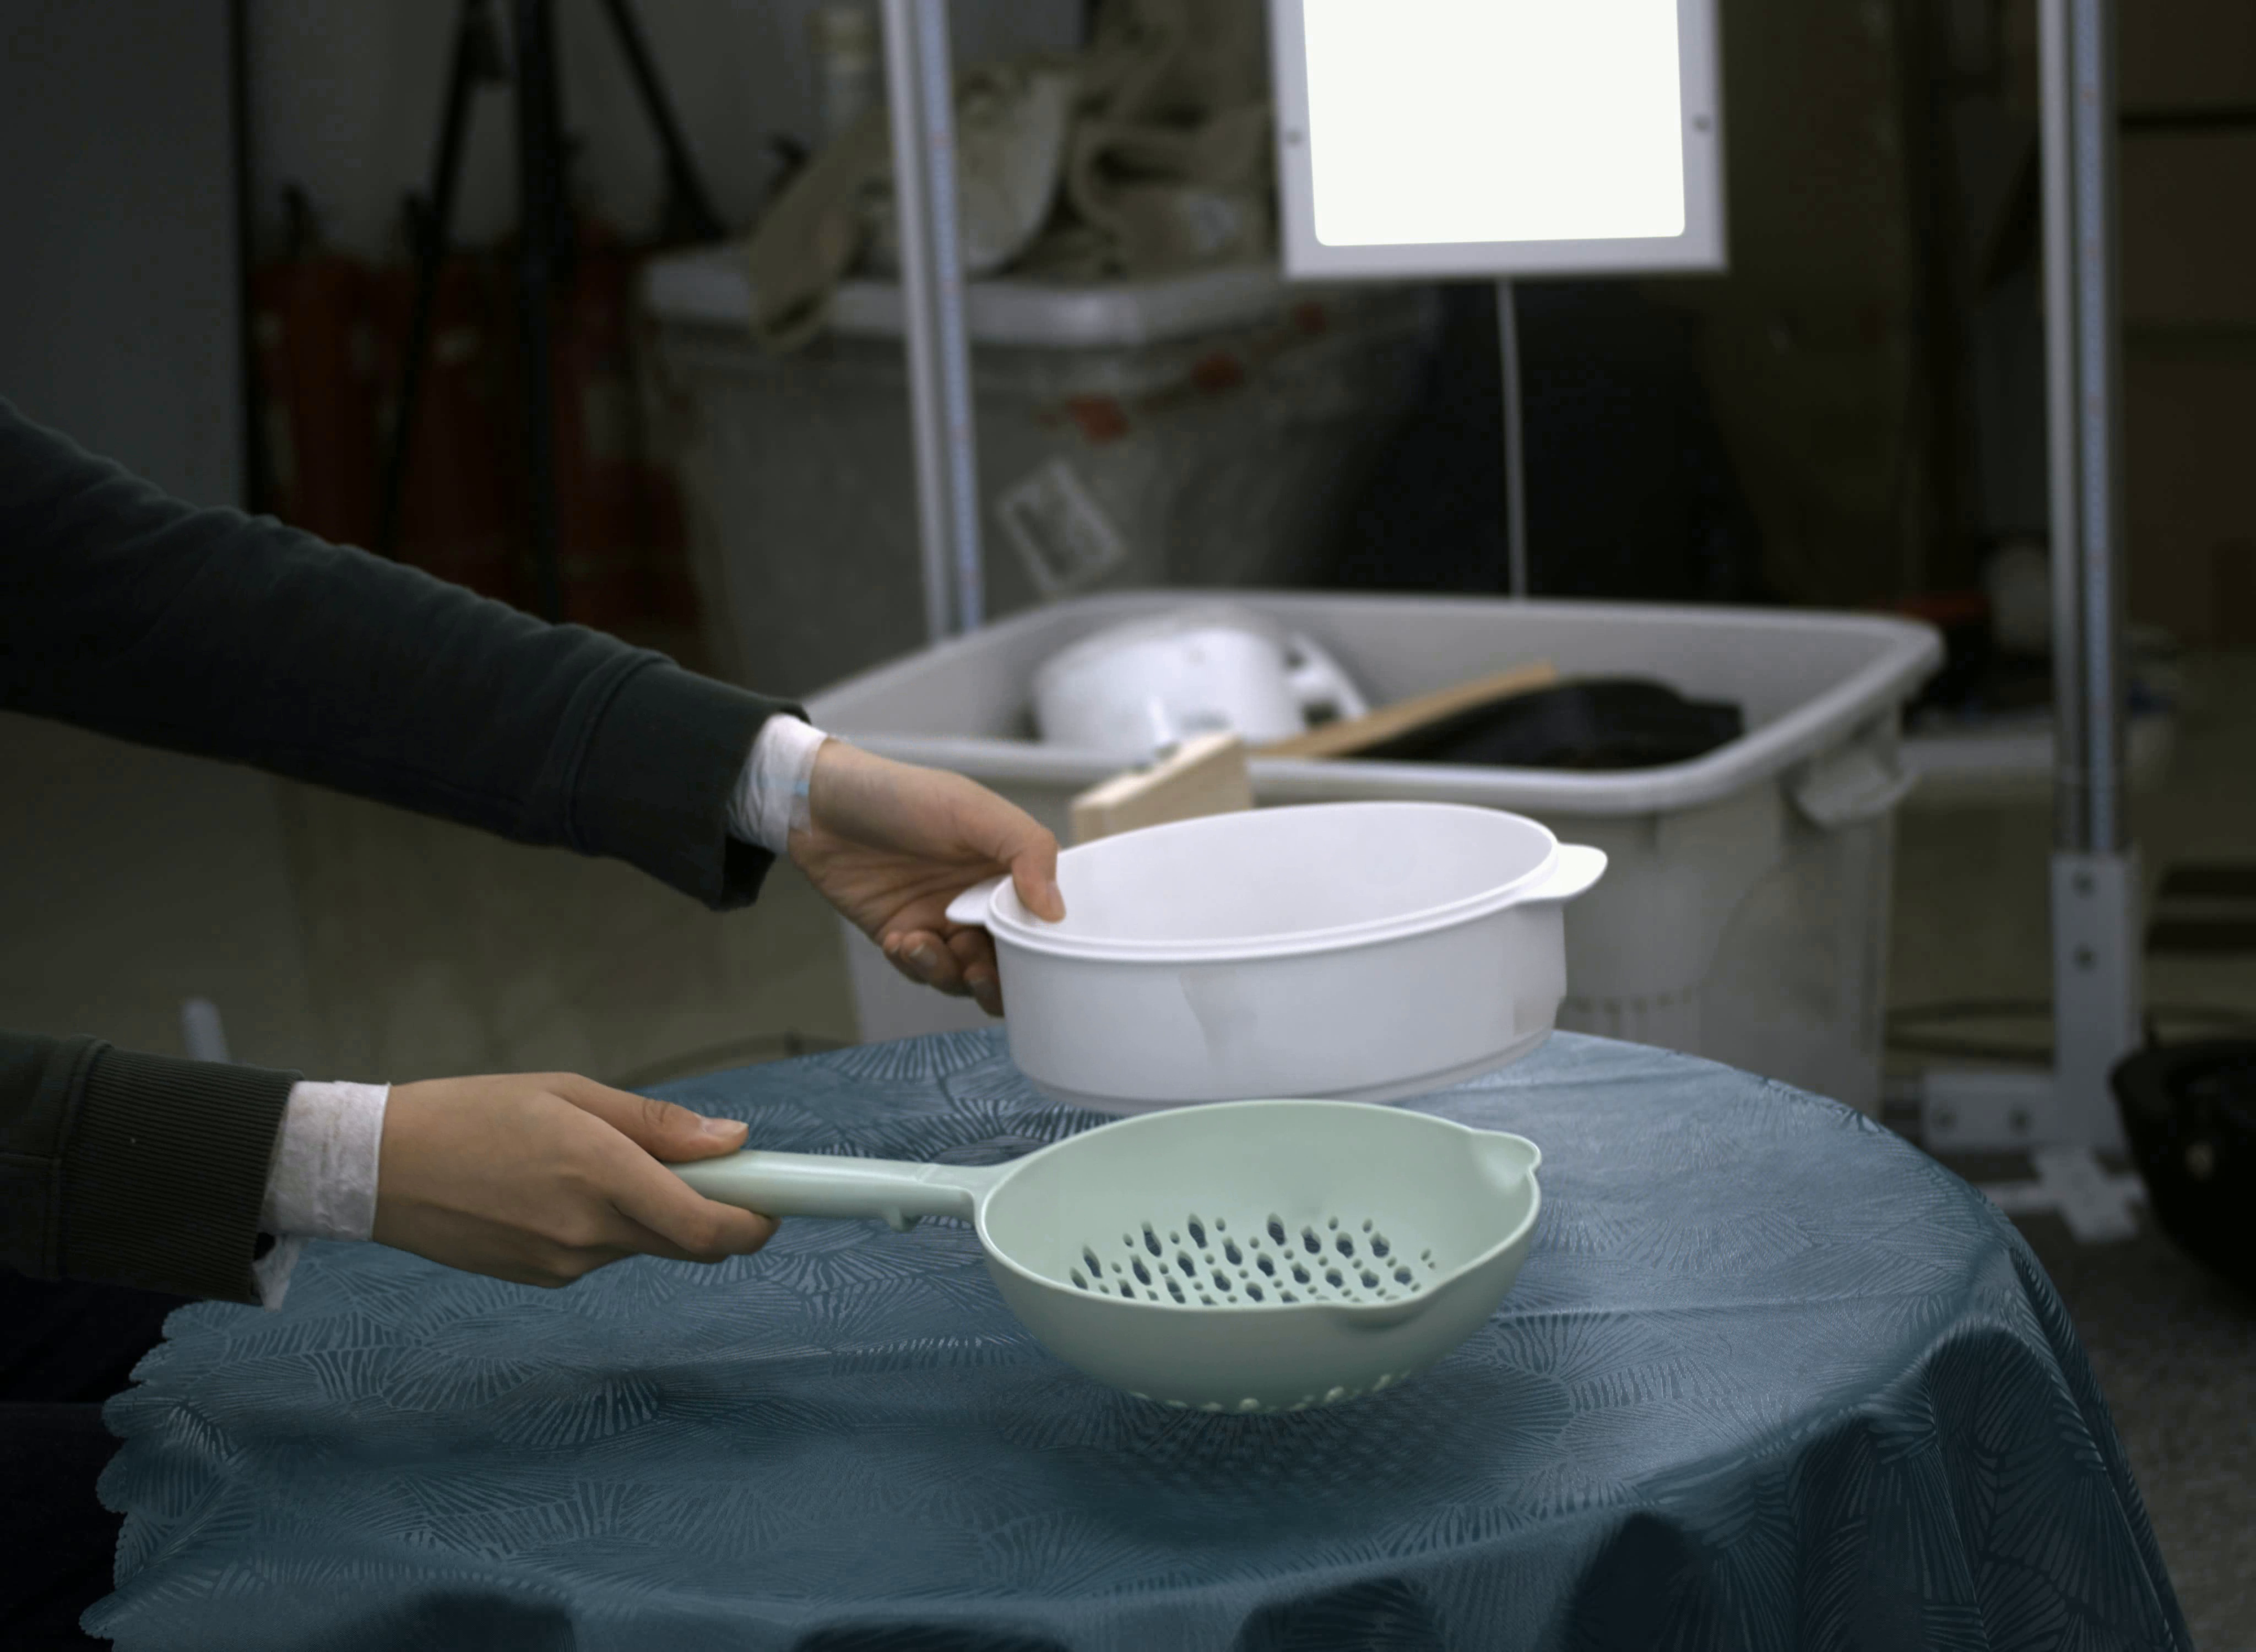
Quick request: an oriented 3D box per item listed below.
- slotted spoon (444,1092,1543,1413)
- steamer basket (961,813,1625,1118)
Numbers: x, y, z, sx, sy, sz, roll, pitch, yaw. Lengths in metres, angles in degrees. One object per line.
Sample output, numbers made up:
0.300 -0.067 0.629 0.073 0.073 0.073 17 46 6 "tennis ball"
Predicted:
-0.050 0.118 1.693 0.363 0.076 0.166 11 21 21 "slotted spoon"
0.059 0.048 1.886 0.233 0.069 0.199 -4 11 18 "steamer basket"
